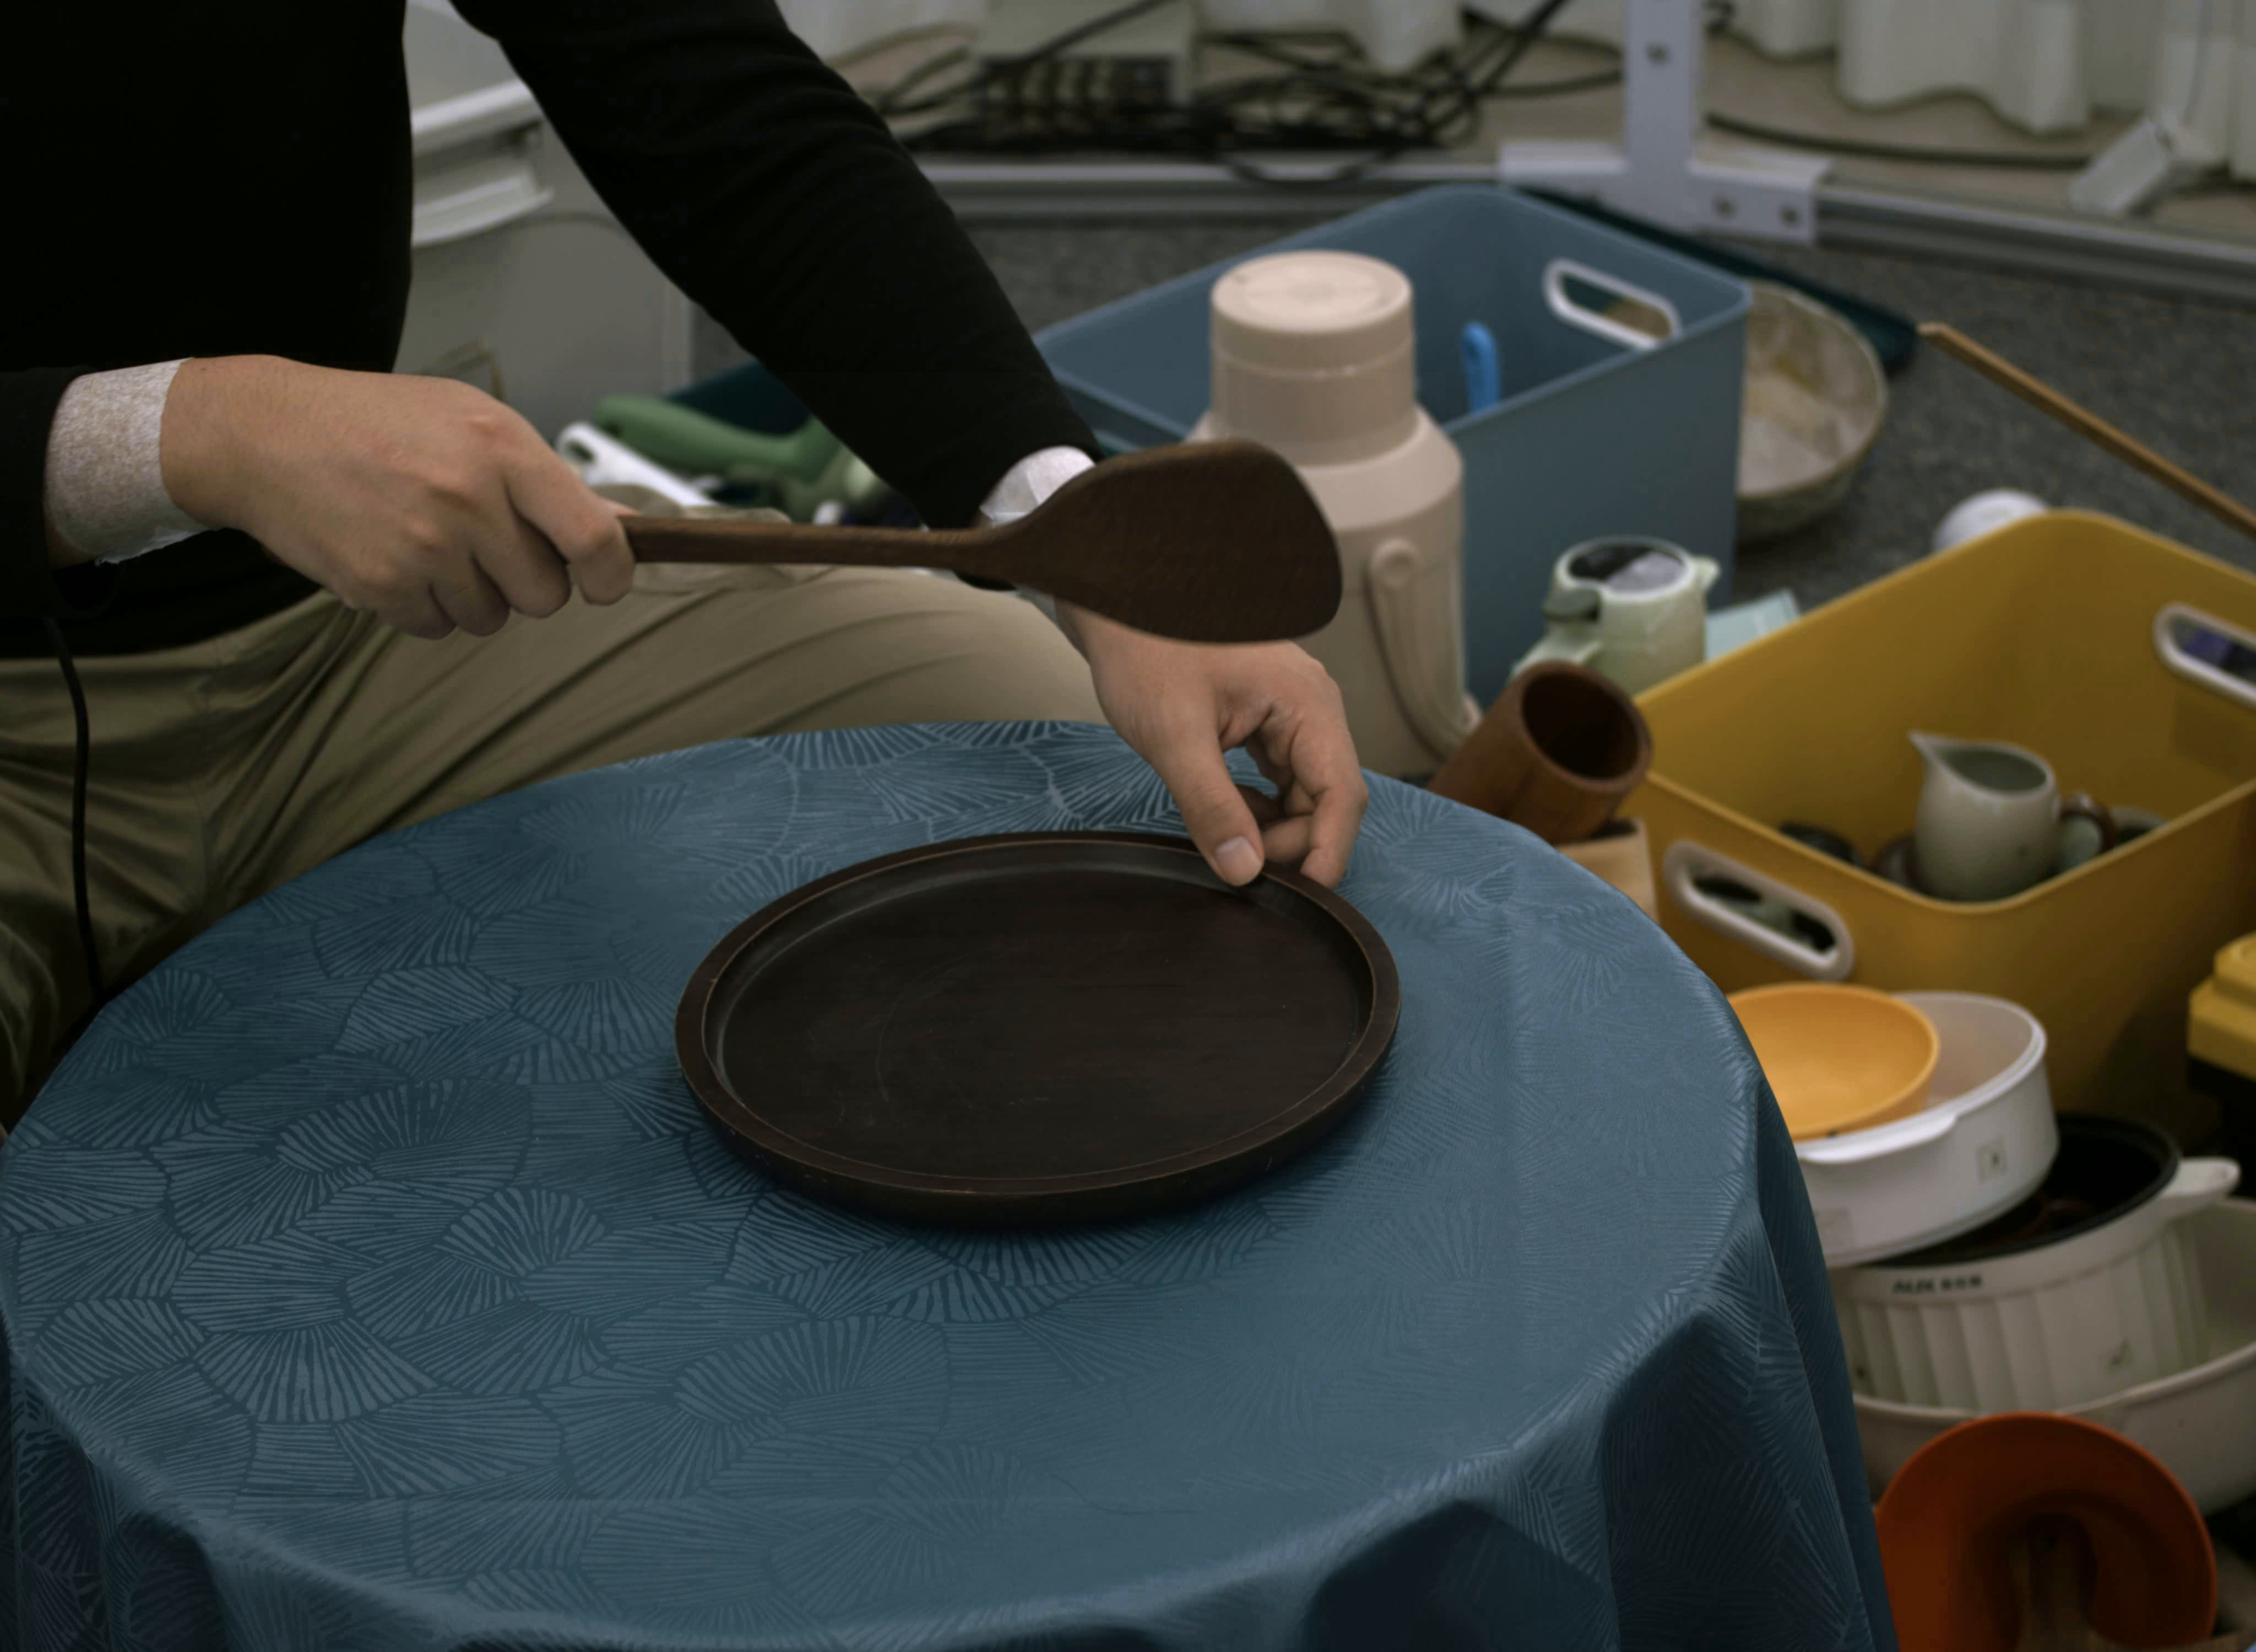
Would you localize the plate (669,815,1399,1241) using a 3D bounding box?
[{"bbox_3d":[-0.032,0.070,1.940,0.253,0.029,0.259,-2,29,2],"label":"plate"}]

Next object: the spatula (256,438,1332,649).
[{"bbox_3d":[-0.117,-0.094,1.870,0.383,0.095,0.016,2,51,20],"label":"spatula"}]
